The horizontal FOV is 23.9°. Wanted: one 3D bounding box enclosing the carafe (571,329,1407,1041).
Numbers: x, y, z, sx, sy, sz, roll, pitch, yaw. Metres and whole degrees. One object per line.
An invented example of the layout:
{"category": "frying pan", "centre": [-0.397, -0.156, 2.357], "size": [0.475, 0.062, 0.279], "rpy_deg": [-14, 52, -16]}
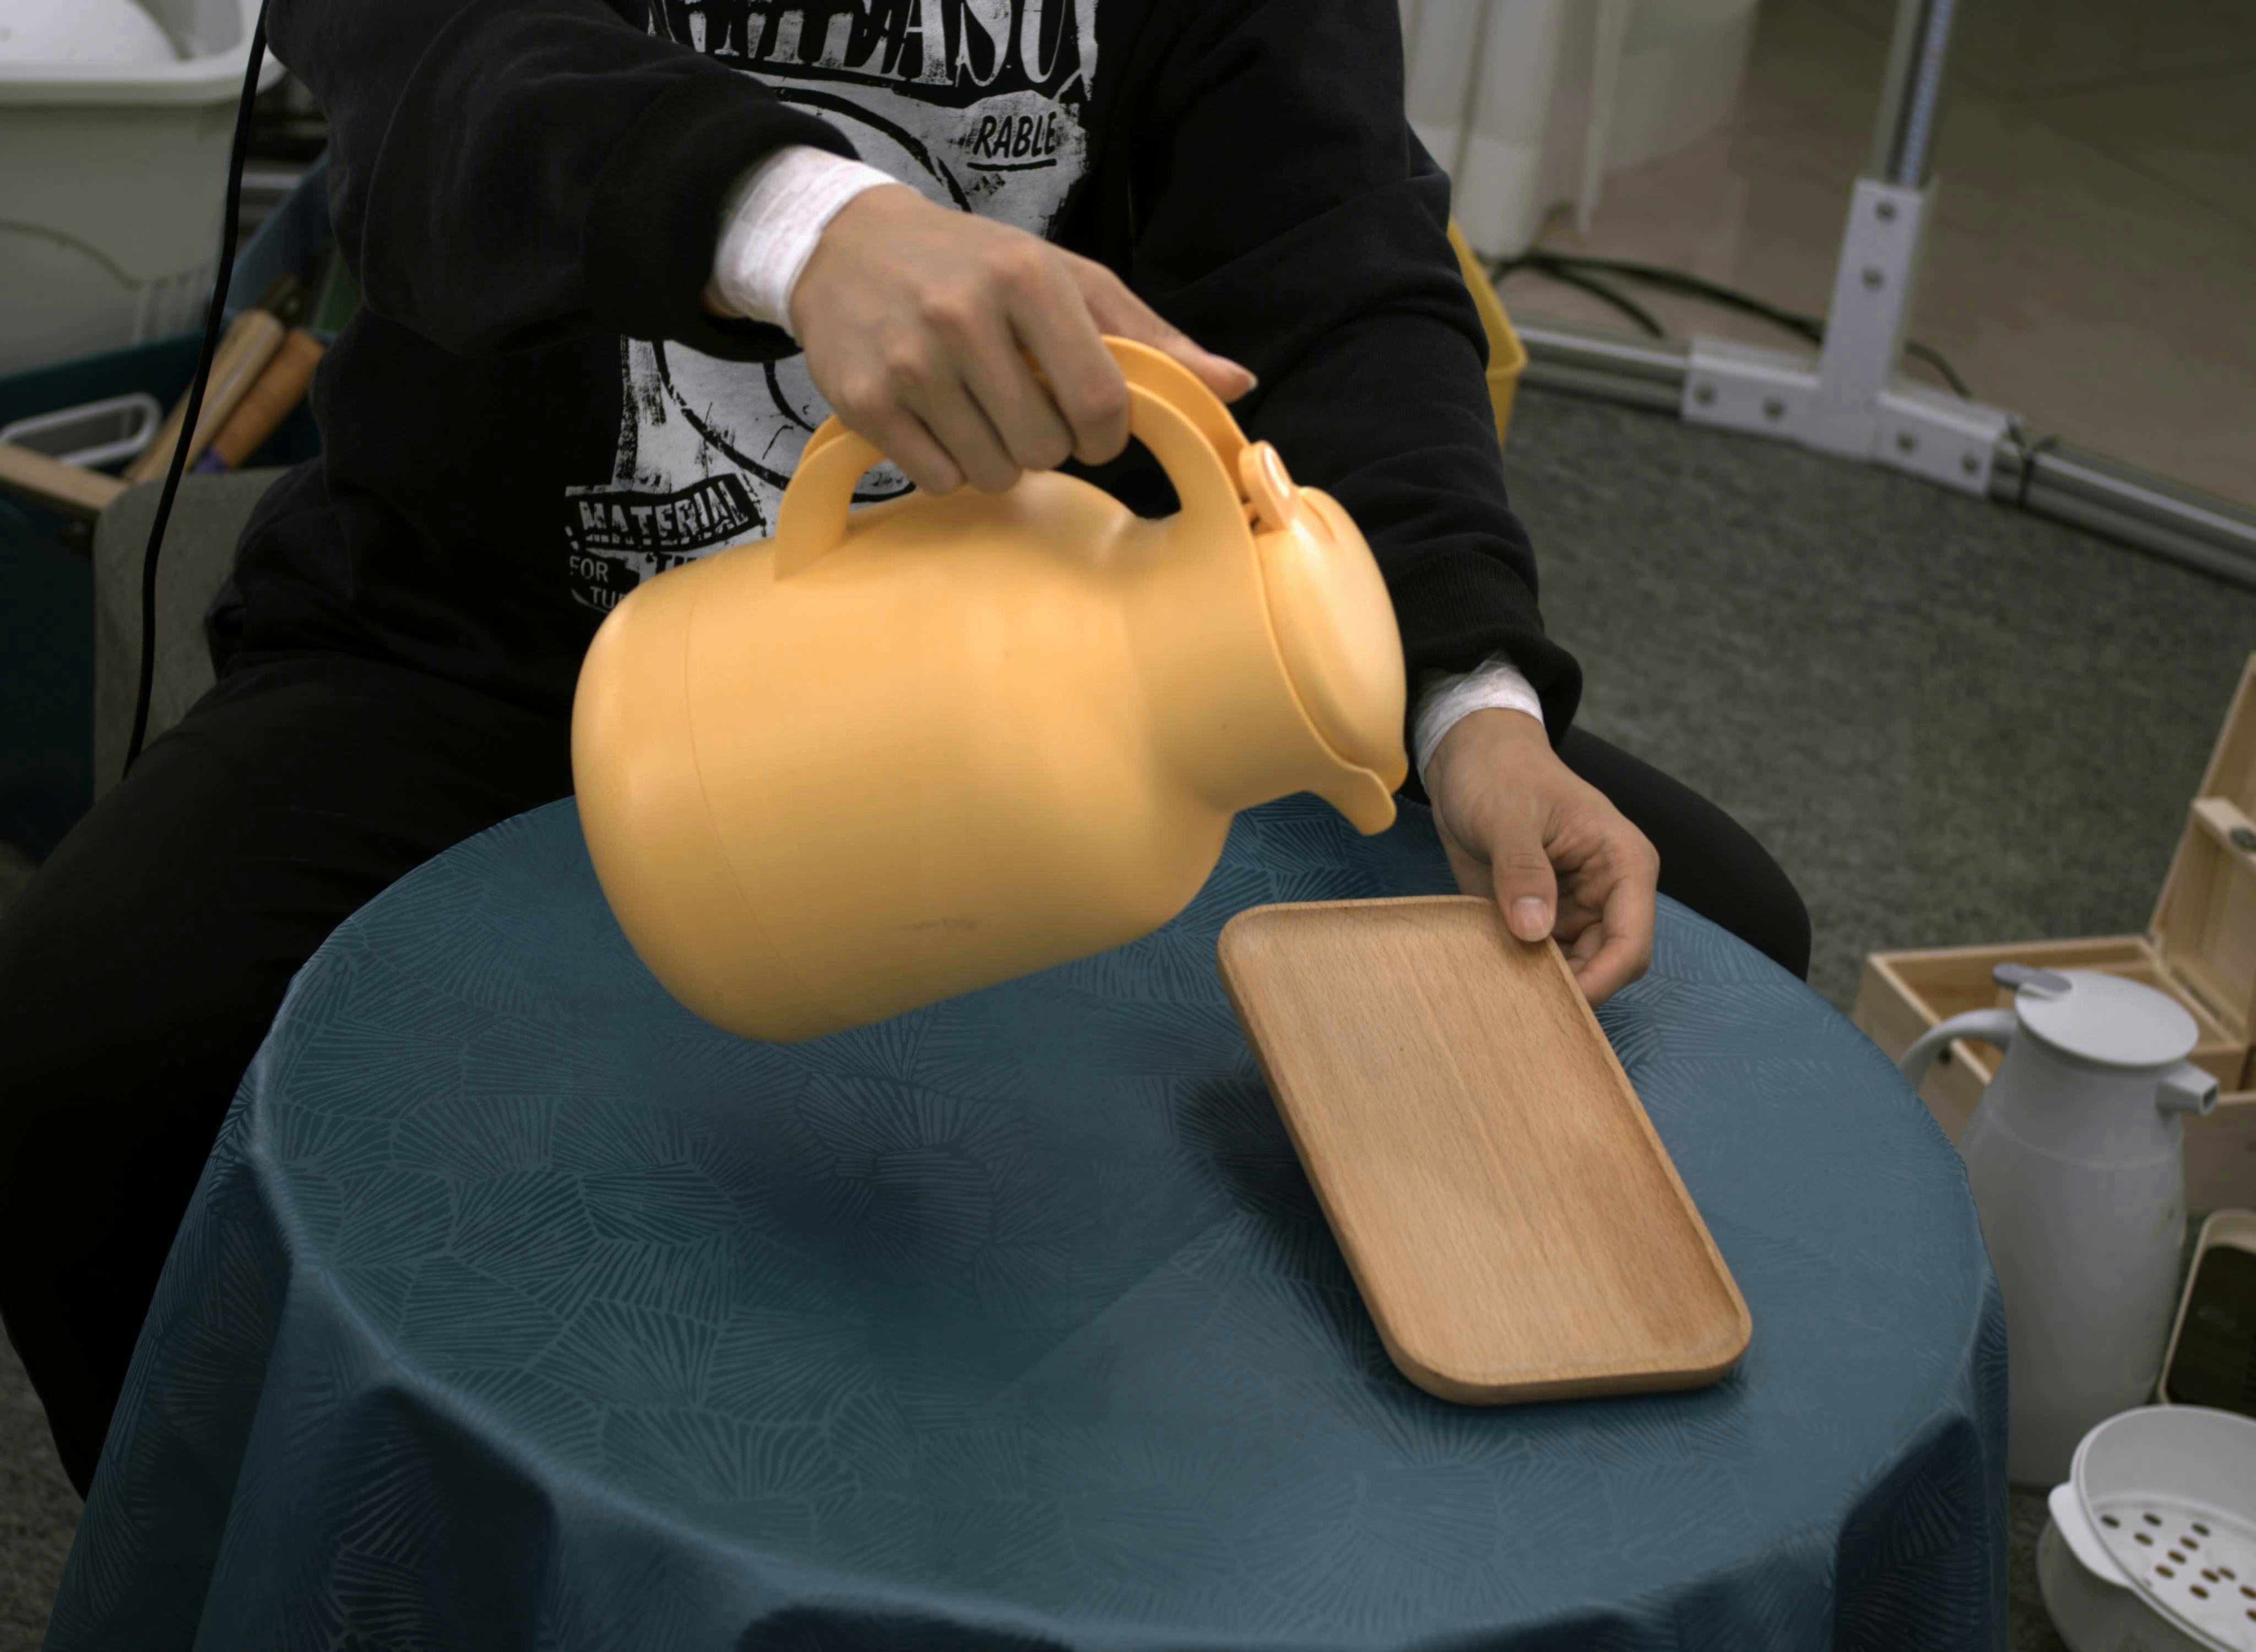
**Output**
{"category": "carafe", "centre": [-0.048, -0.050, 1.714], "size": [0.260, 0.201, 0.164], "rpy_deg": [-17, 25, 20]}

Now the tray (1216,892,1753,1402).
{"category": "tray", "centre": [0.117, 0.106, 1.805], "size": [0.130, 0.023, 0.253], "rpy_deg": [0, 36, -18]}
